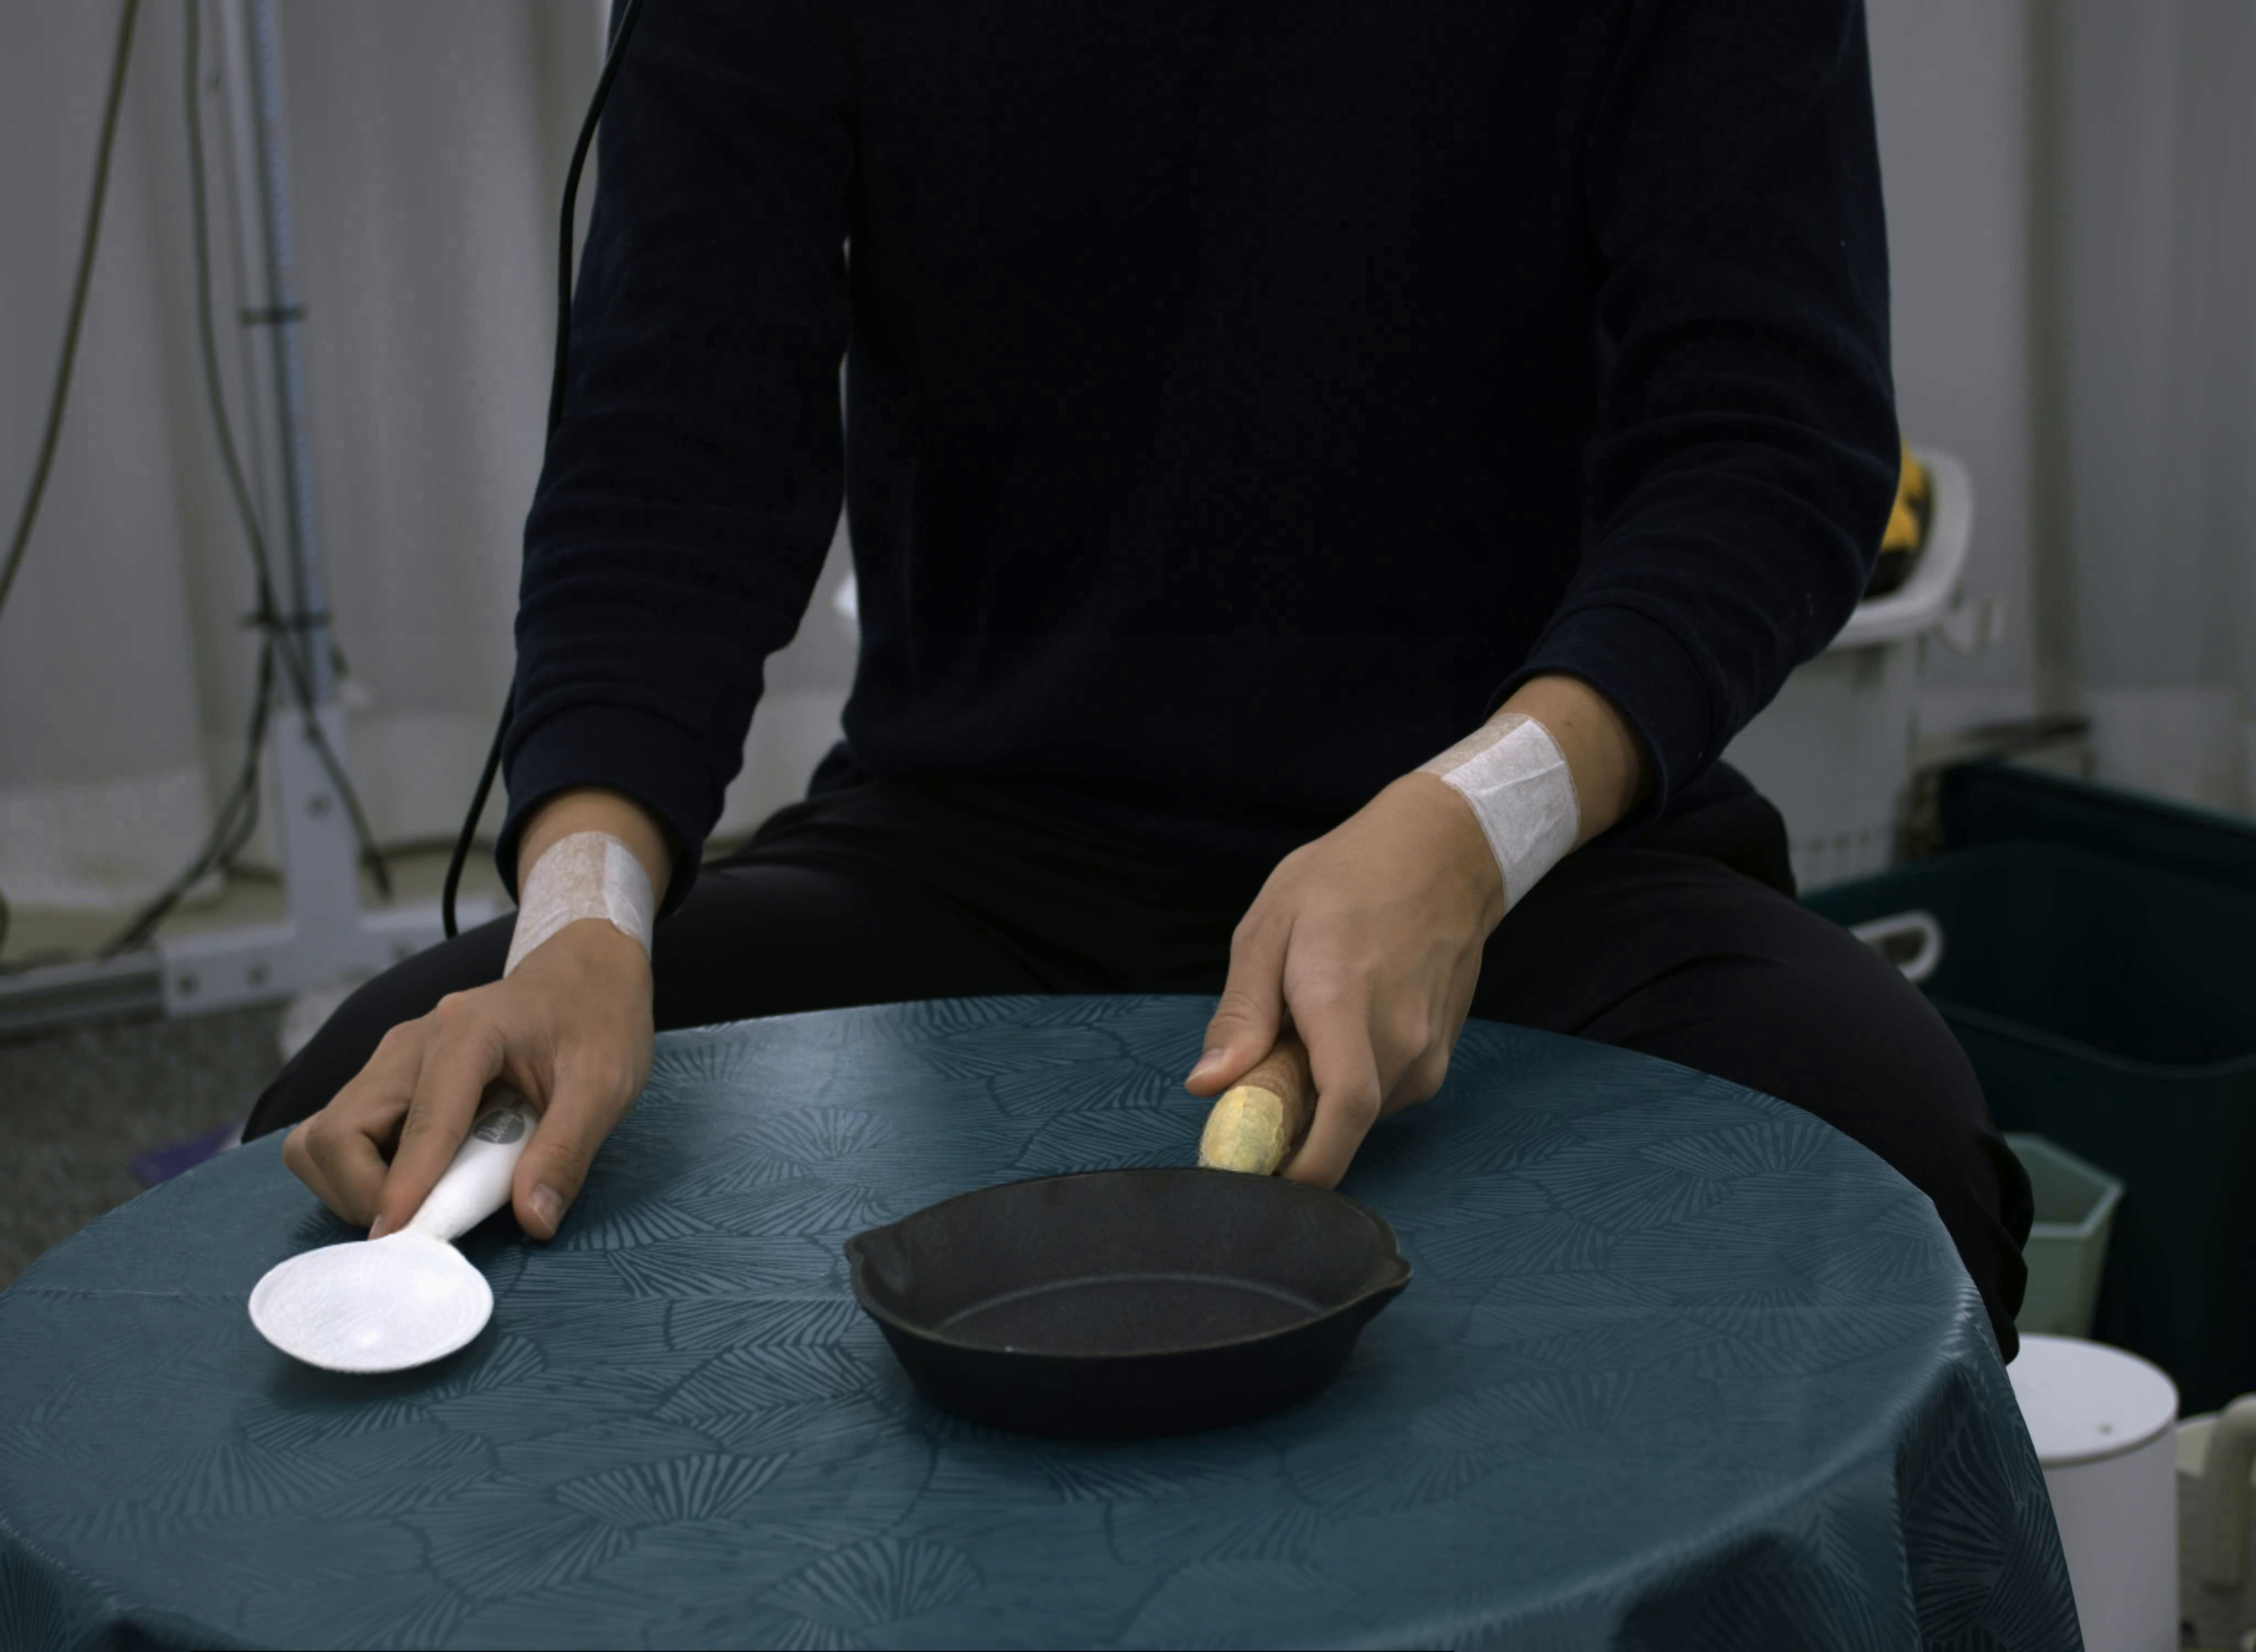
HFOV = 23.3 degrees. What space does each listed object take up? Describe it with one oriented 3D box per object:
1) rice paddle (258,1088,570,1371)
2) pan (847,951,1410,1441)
[{"bbox_3d":[-0.210,0.125,1.662,0.068,0.029,0.206,10,17,7],"label":"rice paddle"},{"bbox_3d":[0.028,0.108,1.639,0.169,0.049,0.325,2,17,20],"label":"pan"}]
